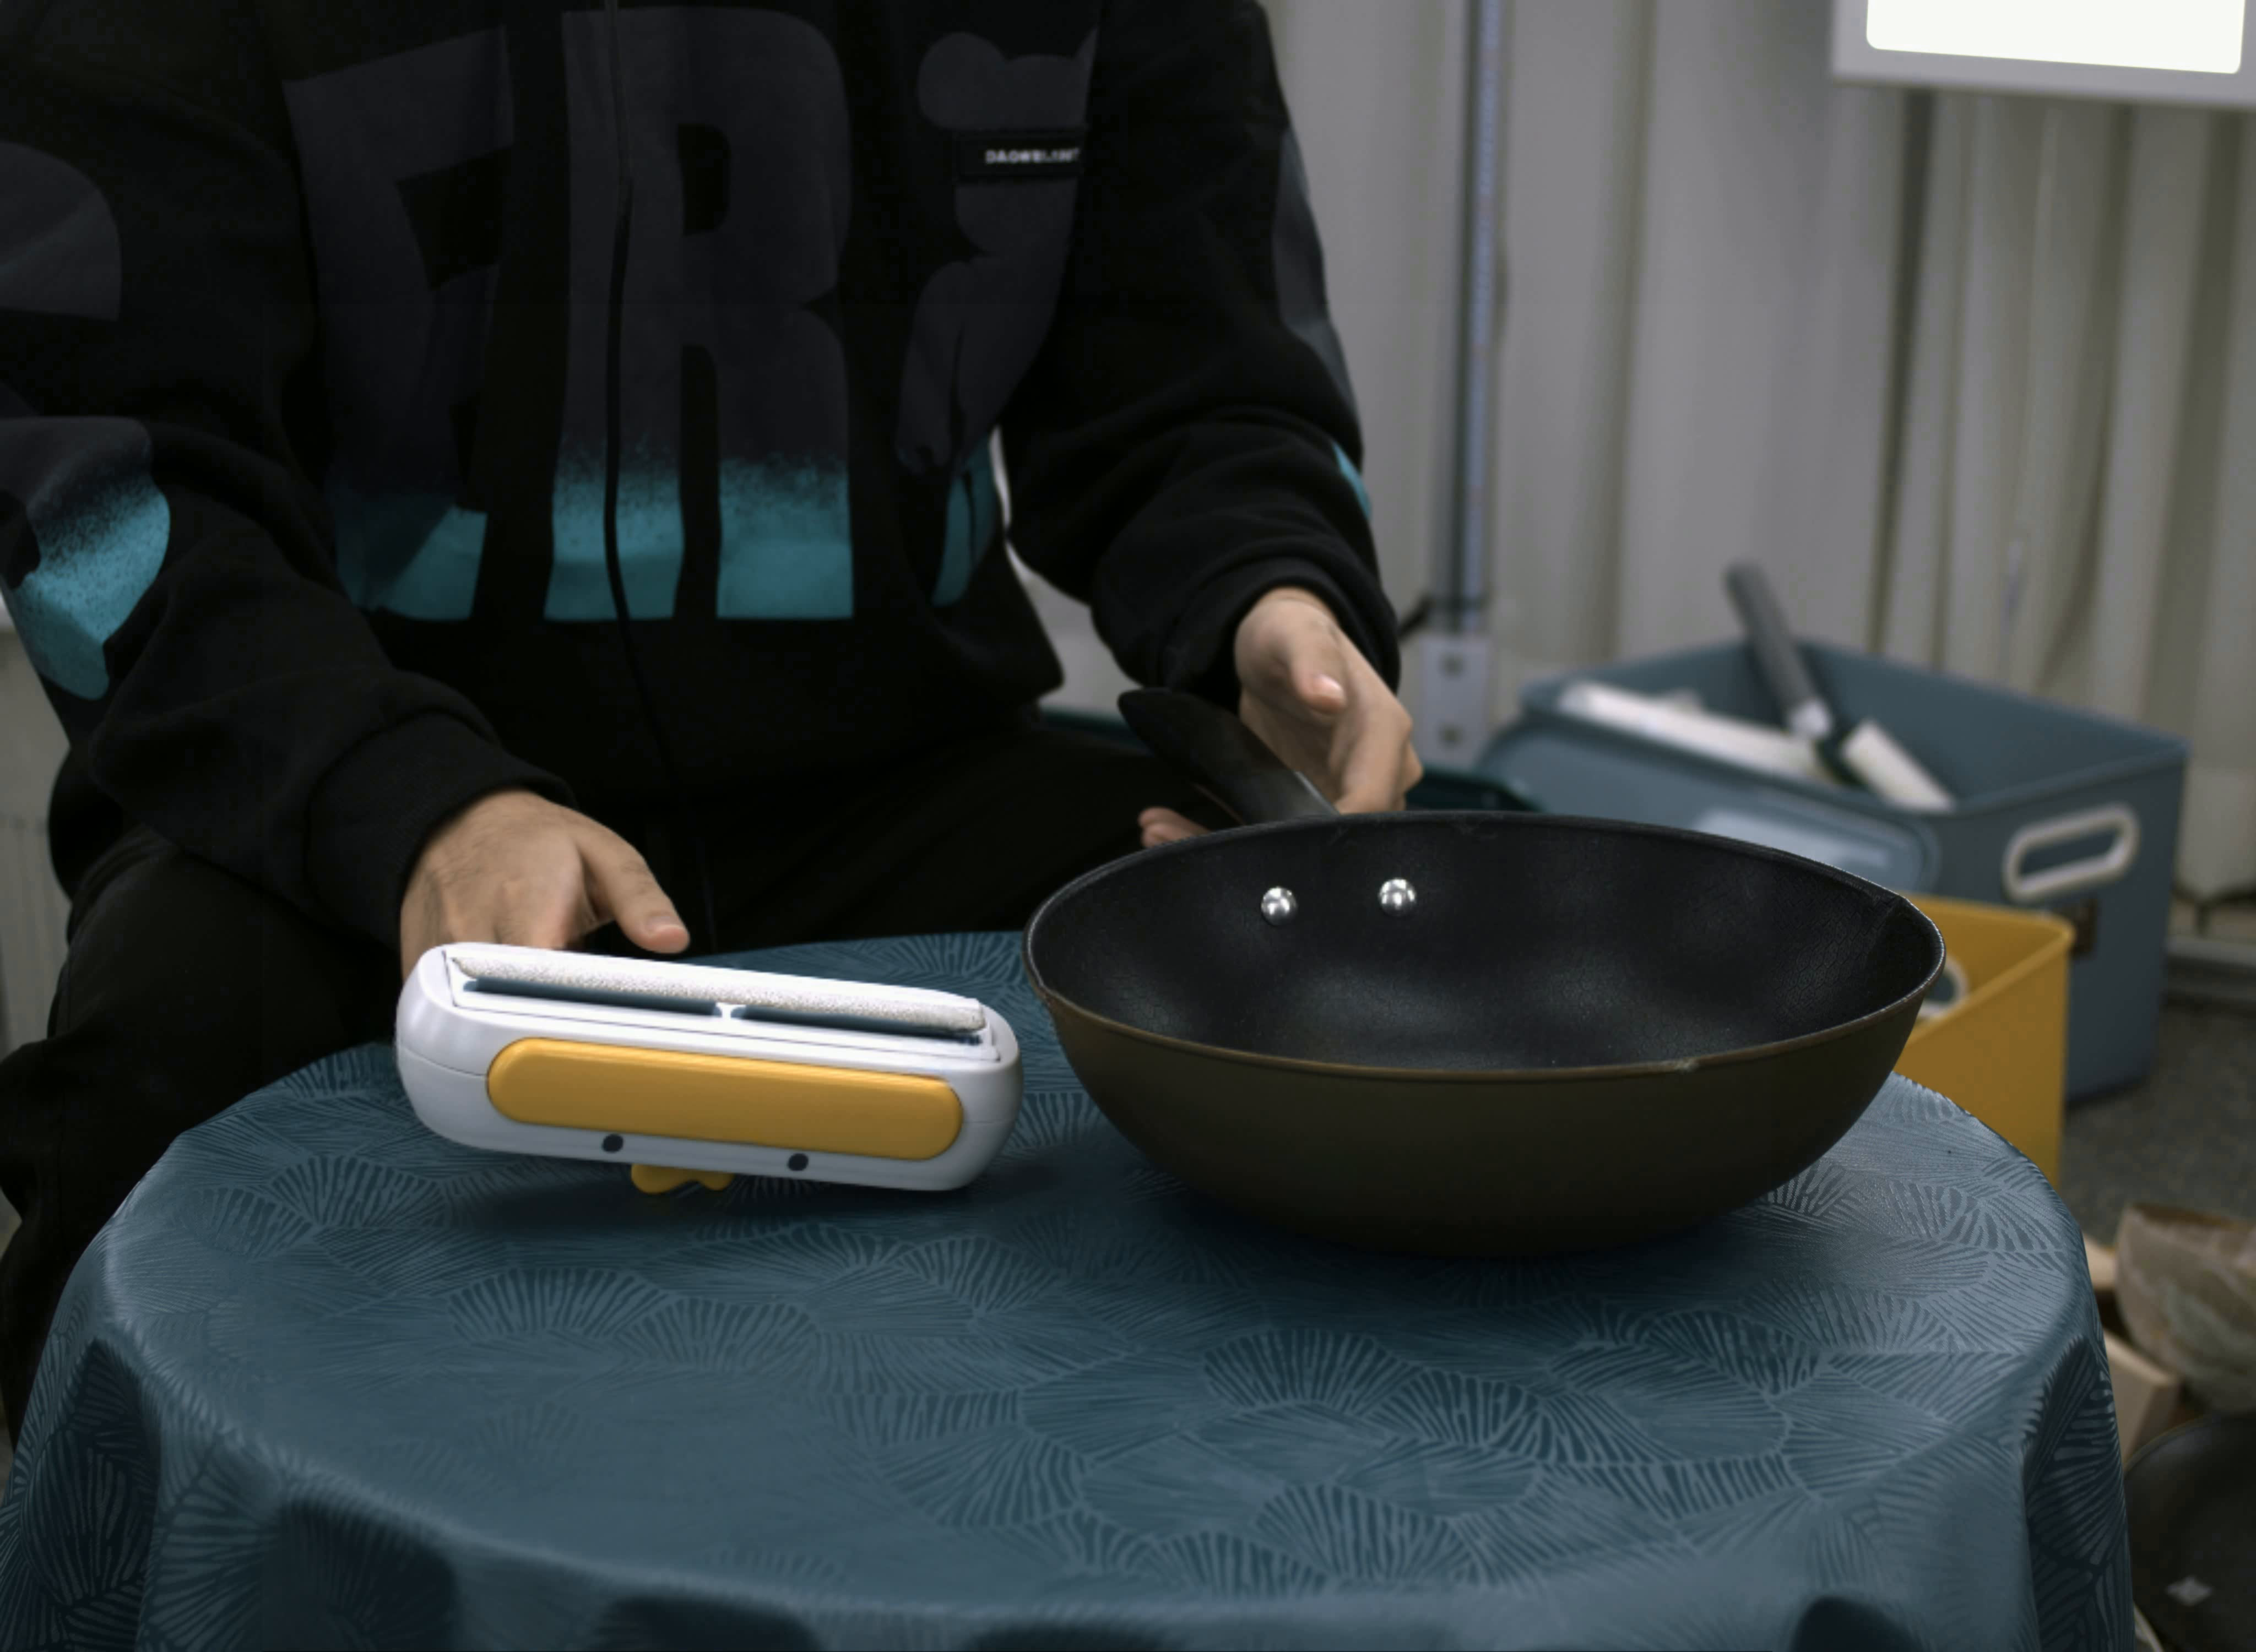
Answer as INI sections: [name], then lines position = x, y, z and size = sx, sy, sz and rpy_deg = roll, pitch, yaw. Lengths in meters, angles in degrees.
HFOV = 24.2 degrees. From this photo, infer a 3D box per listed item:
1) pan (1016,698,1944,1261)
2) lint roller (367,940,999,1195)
[pan]
position = 0.079, 0.047, 1.701
size = 0.289, 0.087, 0.458
rpy_deg = -5, 16, -18
[lint roller]
position = -0.145, 0.066, 1.656
size = 0.193, 0.075, 0.191
rpy_deg = 3, 13, -11
